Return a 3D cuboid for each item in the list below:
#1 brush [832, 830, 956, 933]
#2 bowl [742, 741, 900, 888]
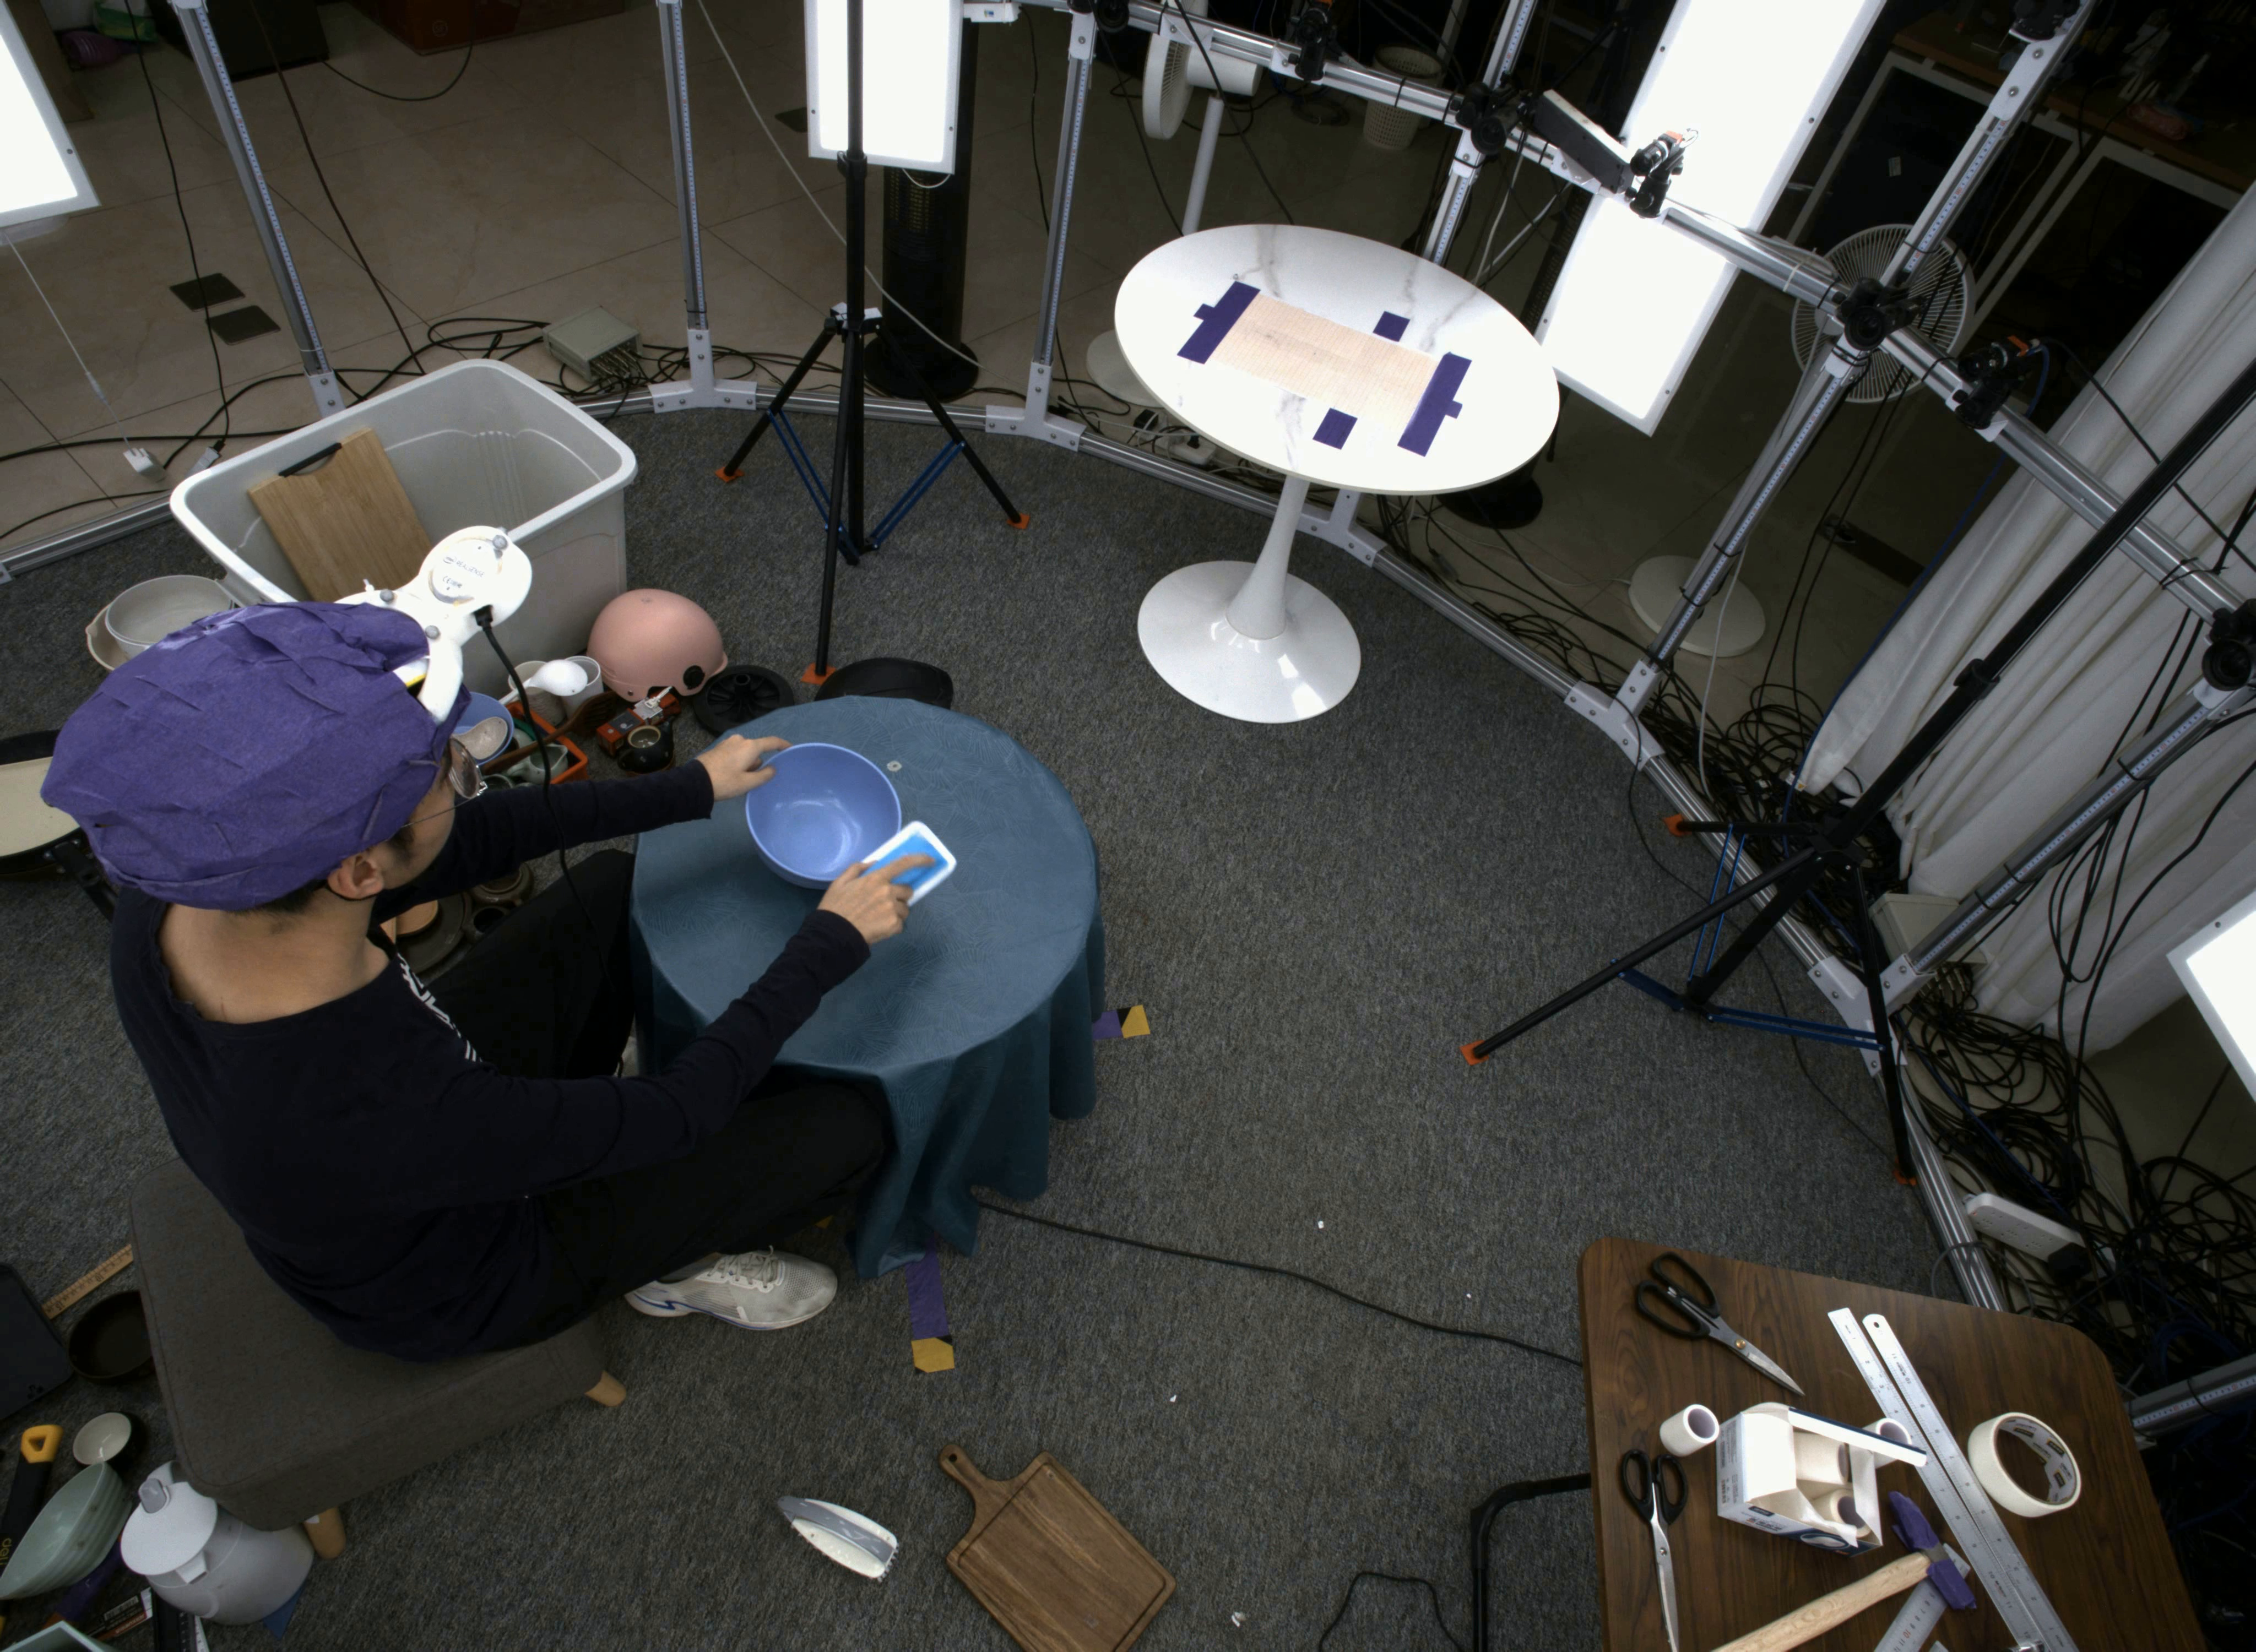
[{"bbox_3d":[-0.279,0.057,1.558,0.144,0.056,0.083,-36,80,-28],"label":"brush"},{"bbox_3d":[-0.398,0.000,1.658,0.198,0.096,0.193,14,56,-19],"label":"bowl"}]
